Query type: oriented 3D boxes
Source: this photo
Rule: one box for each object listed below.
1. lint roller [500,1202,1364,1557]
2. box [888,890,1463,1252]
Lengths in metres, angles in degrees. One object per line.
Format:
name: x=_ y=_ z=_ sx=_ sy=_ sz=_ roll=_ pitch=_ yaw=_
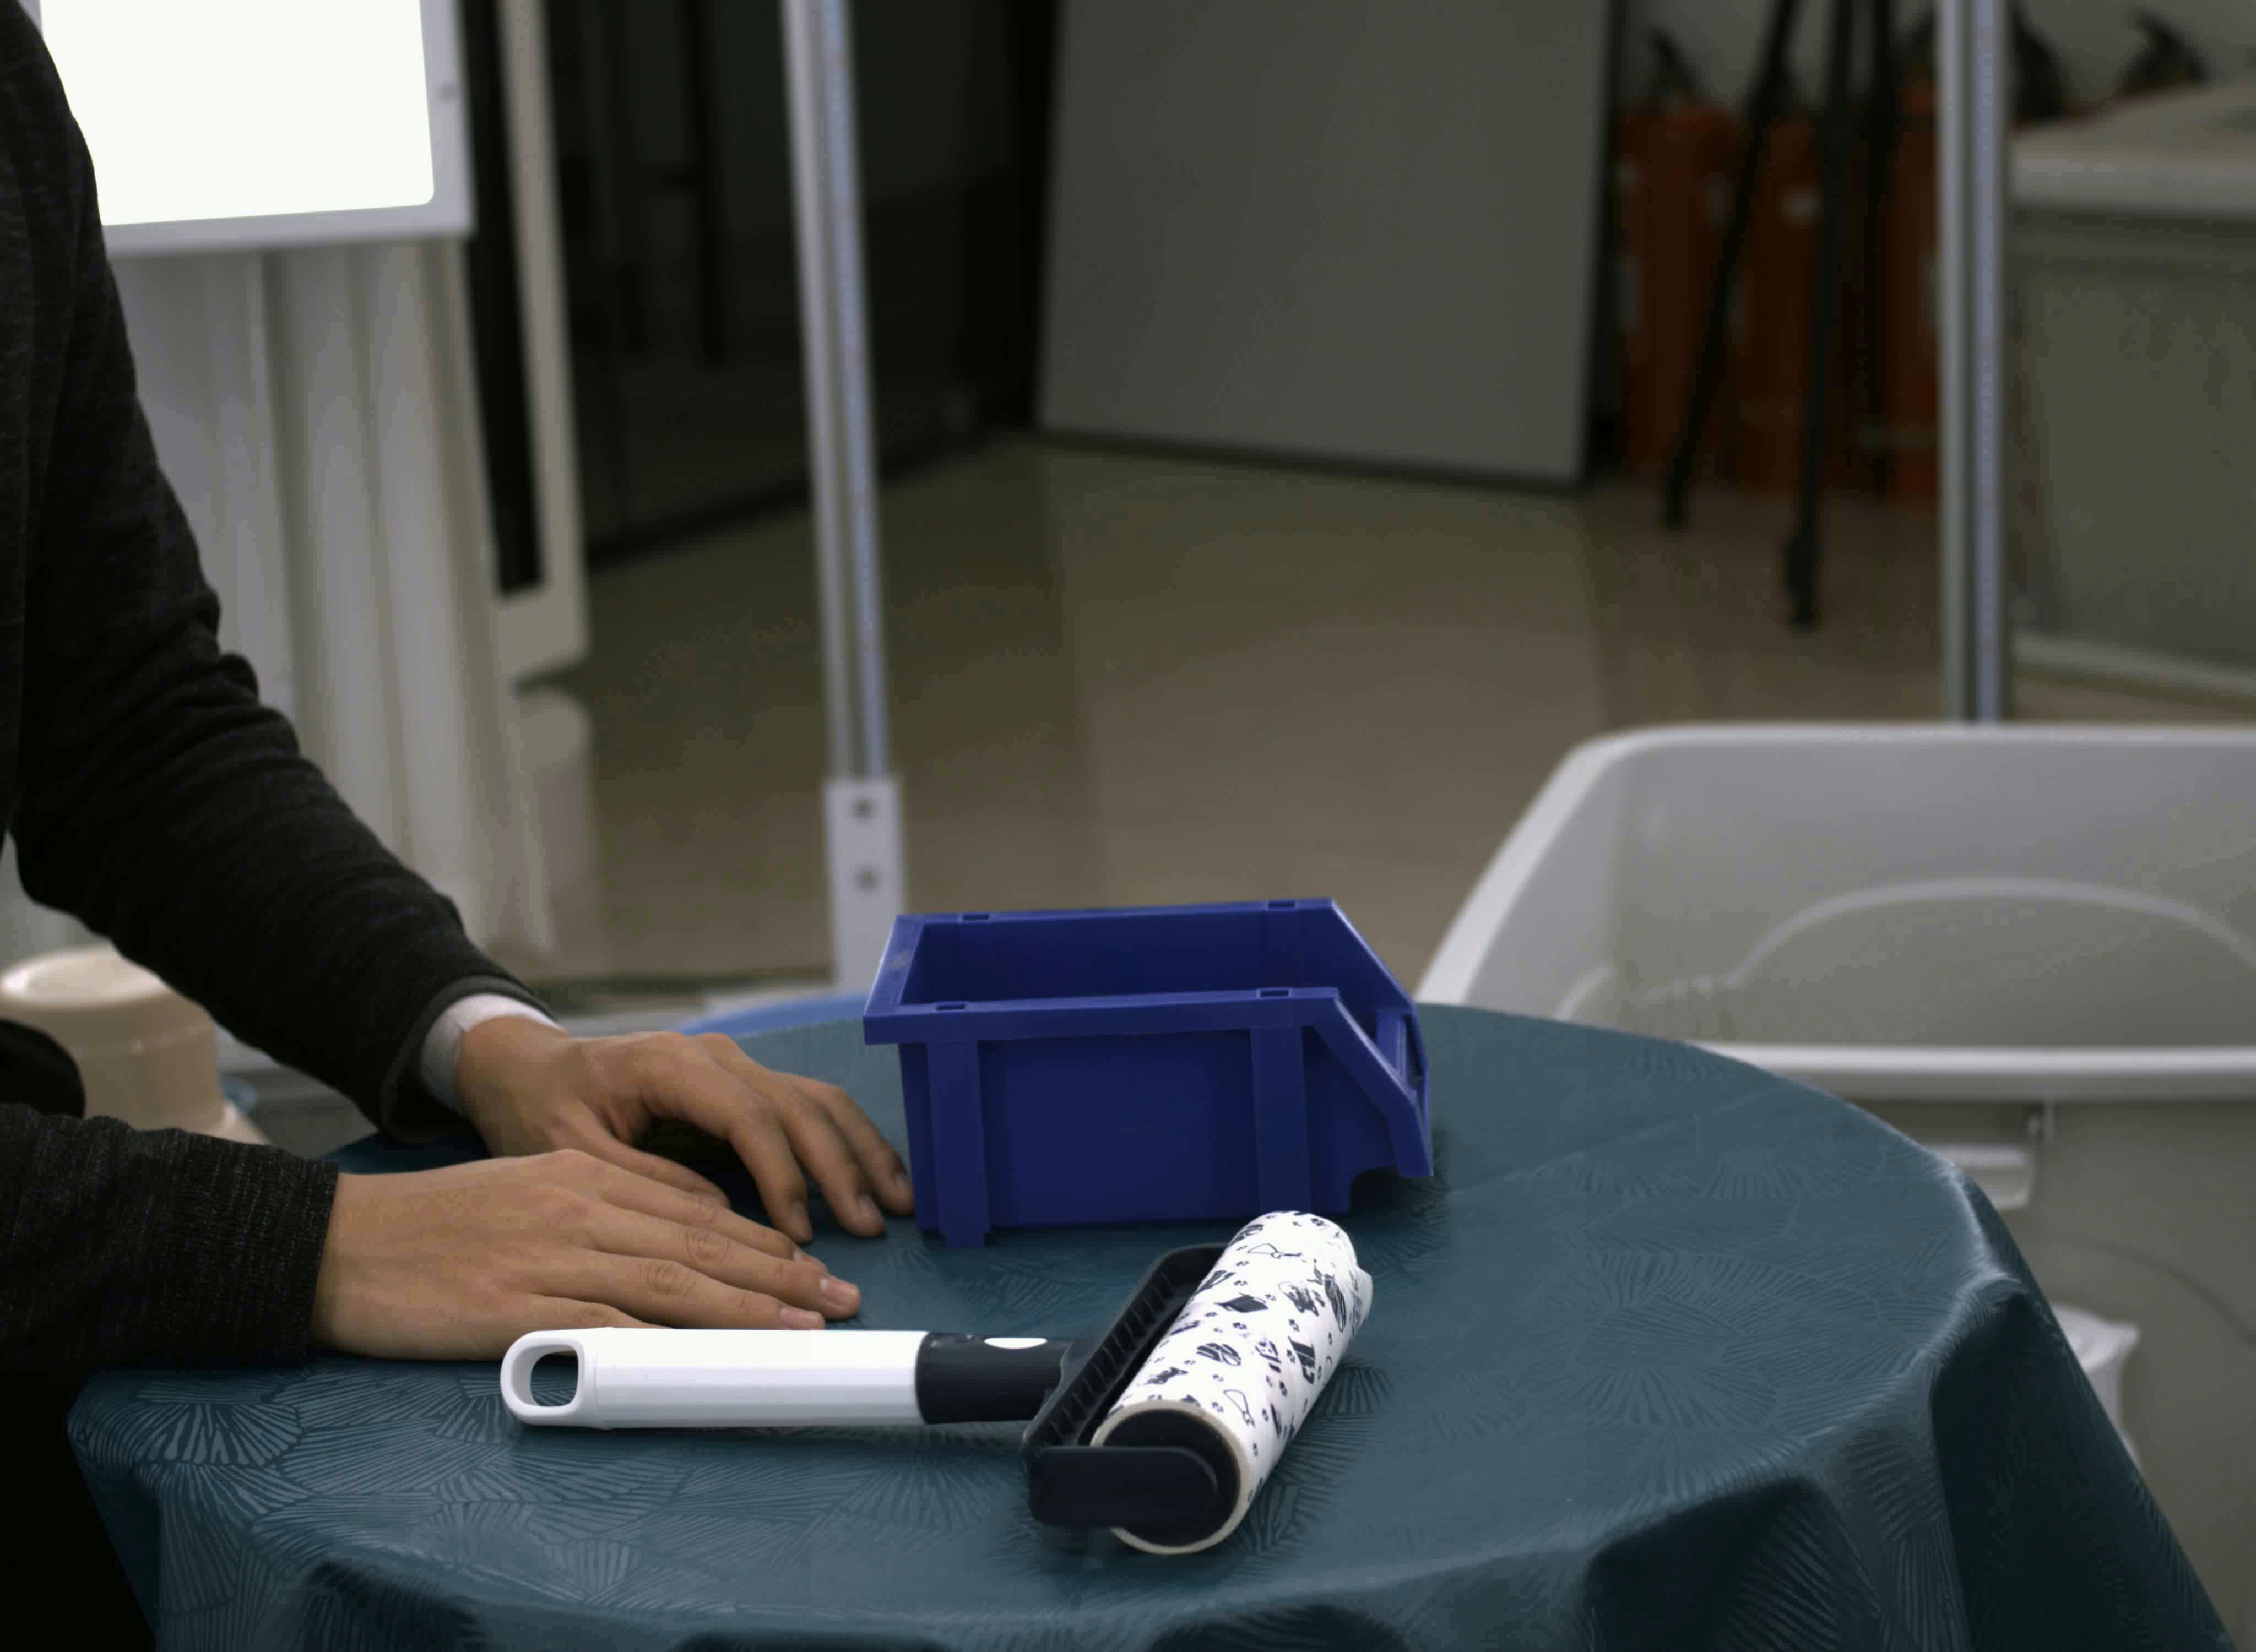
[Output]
lint roller: x=-0.066 y=0.157 z=1.552 sx=0.246 sy=0.051 sz=0.175 roll=-1 pitch=15 yaw=16
box: x=0.020 y=0.078 z=1.768 sx=0.178 sy=0.083 sz=0.124 roll=-5 pitch=13 yaw=7
